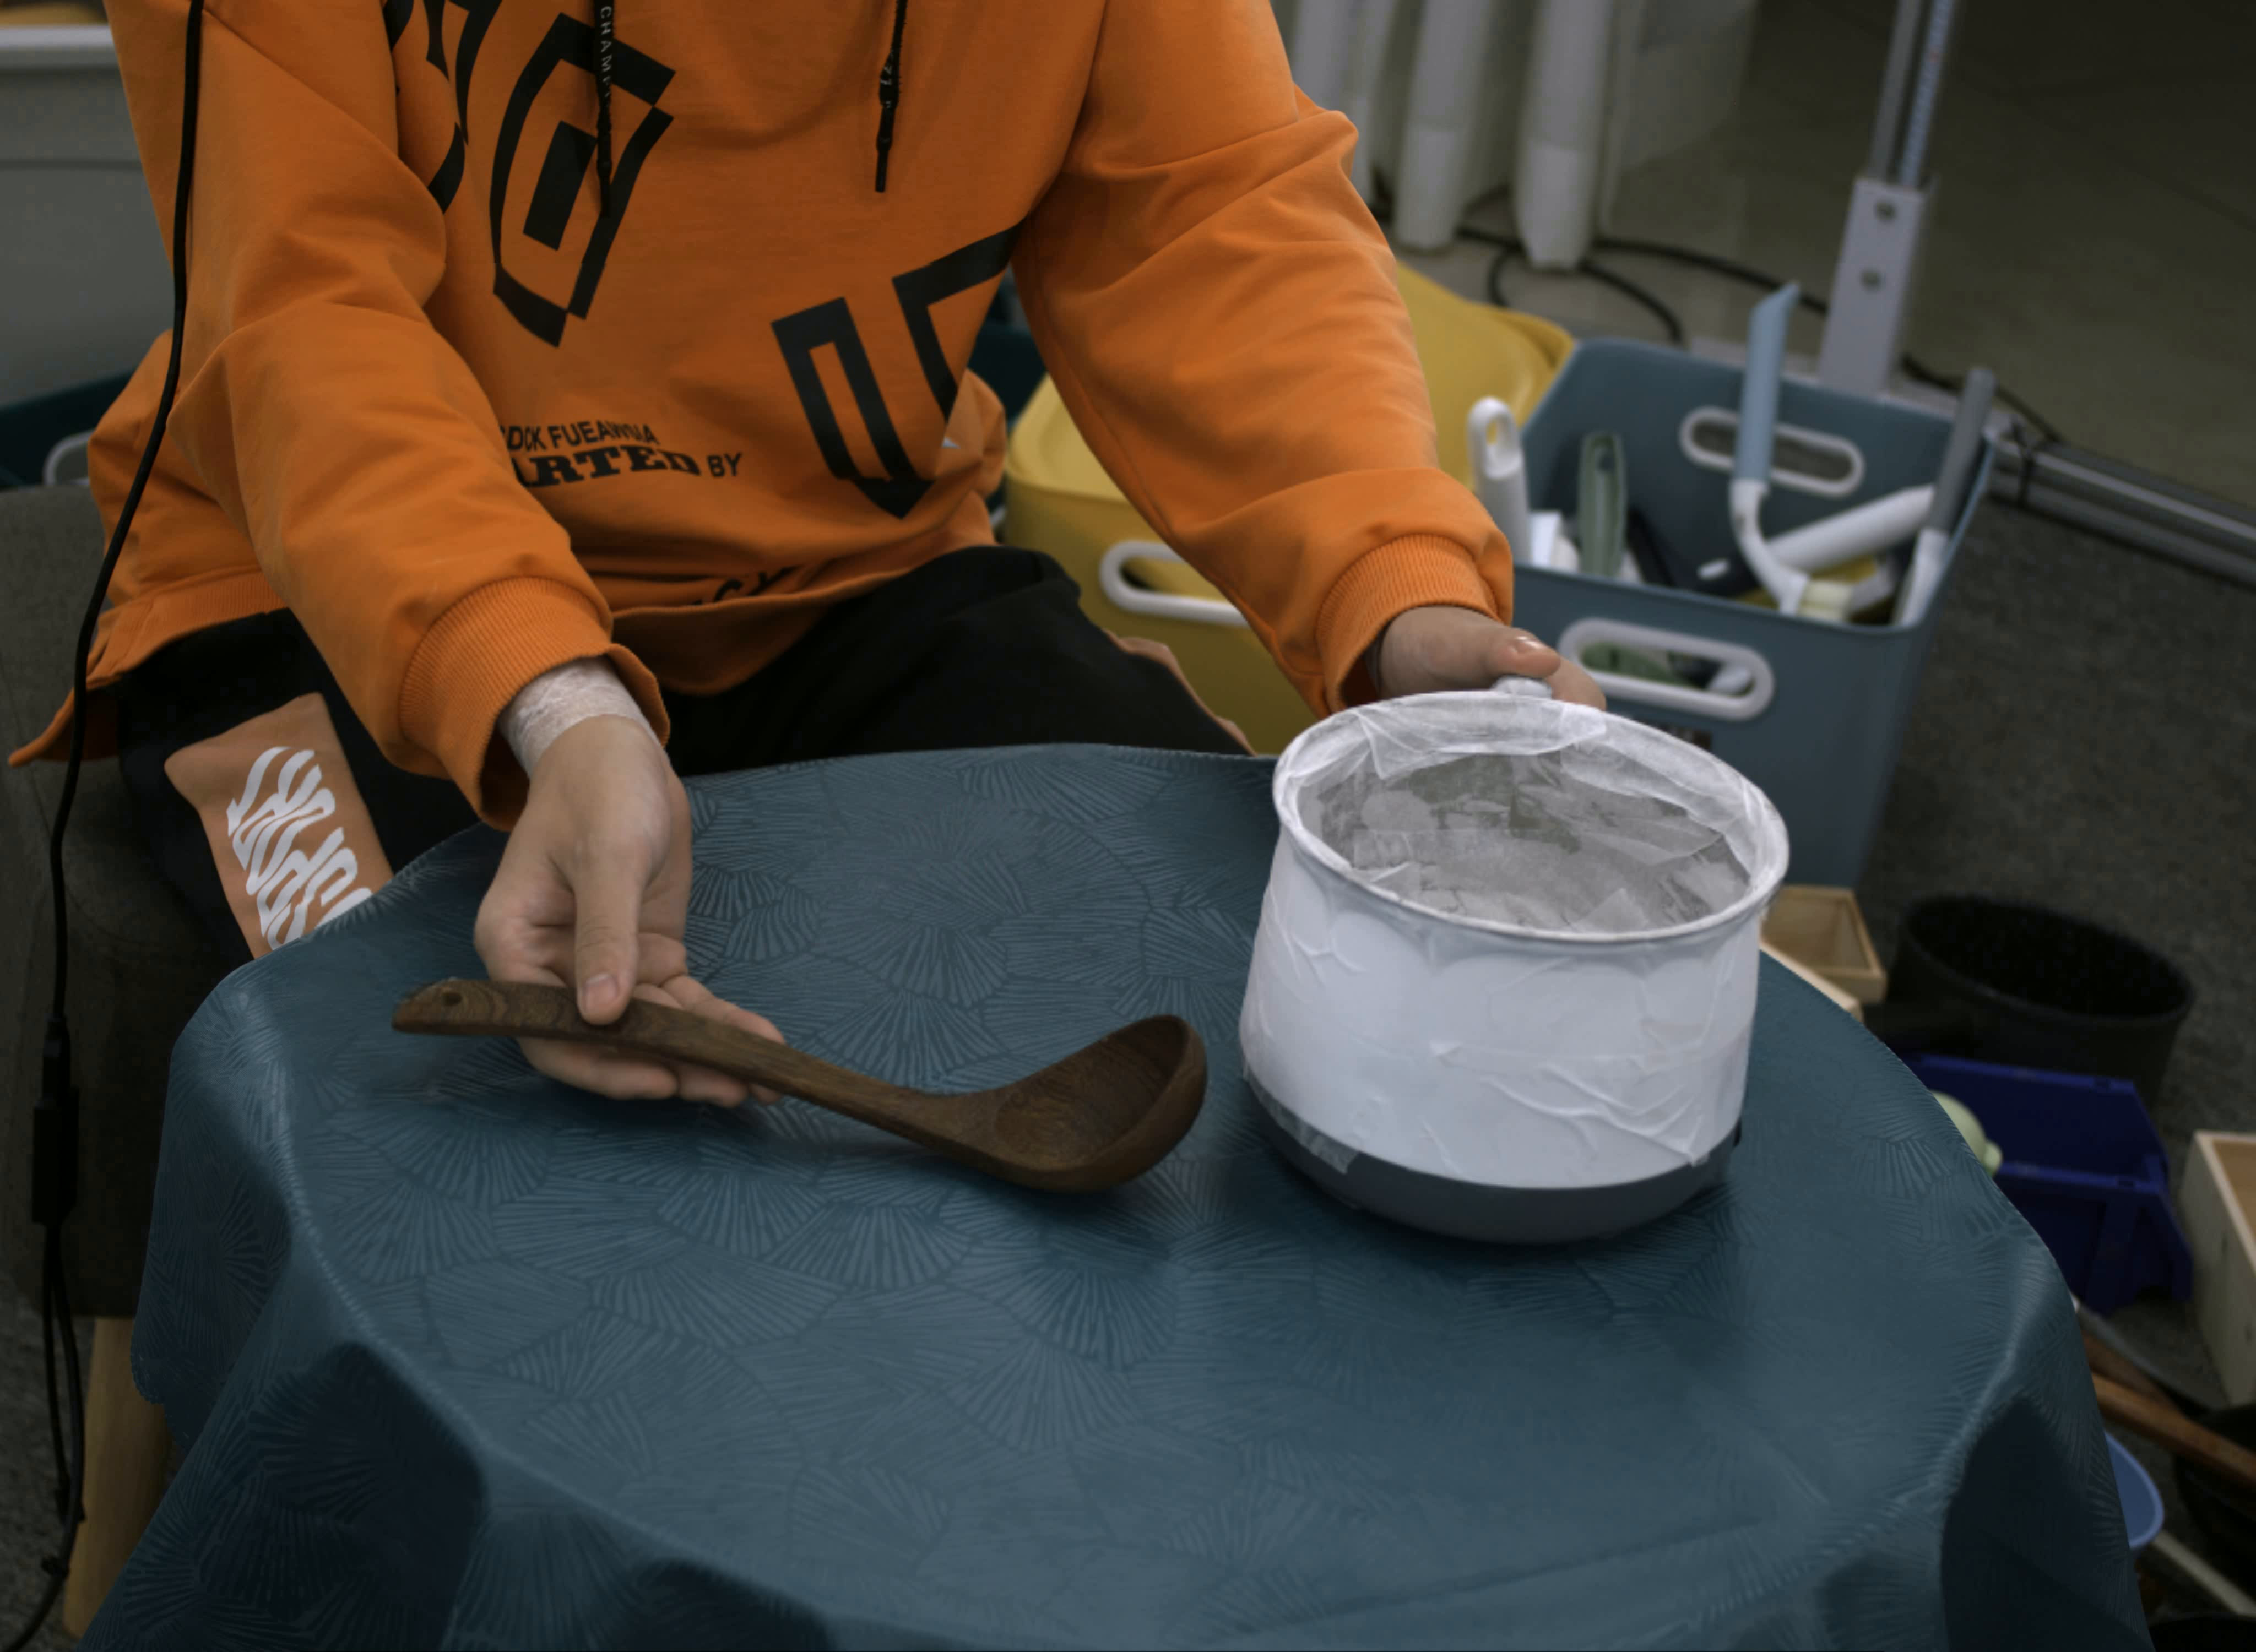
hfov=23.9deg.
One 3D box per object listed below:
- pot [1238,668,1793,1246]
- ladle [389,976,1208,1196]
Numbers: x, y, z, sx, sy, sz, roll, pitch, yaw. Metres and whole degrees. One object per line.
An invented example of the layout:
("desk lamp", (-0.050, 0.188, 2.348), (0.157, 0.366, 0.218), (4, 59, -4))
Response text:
("pot", (0.130, 0.038, 1.849), (0.178, 0.136, 0.235), (6, 27, -2))
("ladle", (-0.110, 0.068, 1.791), (0.273, 0.071, 0.076), (15, 29, -1))
